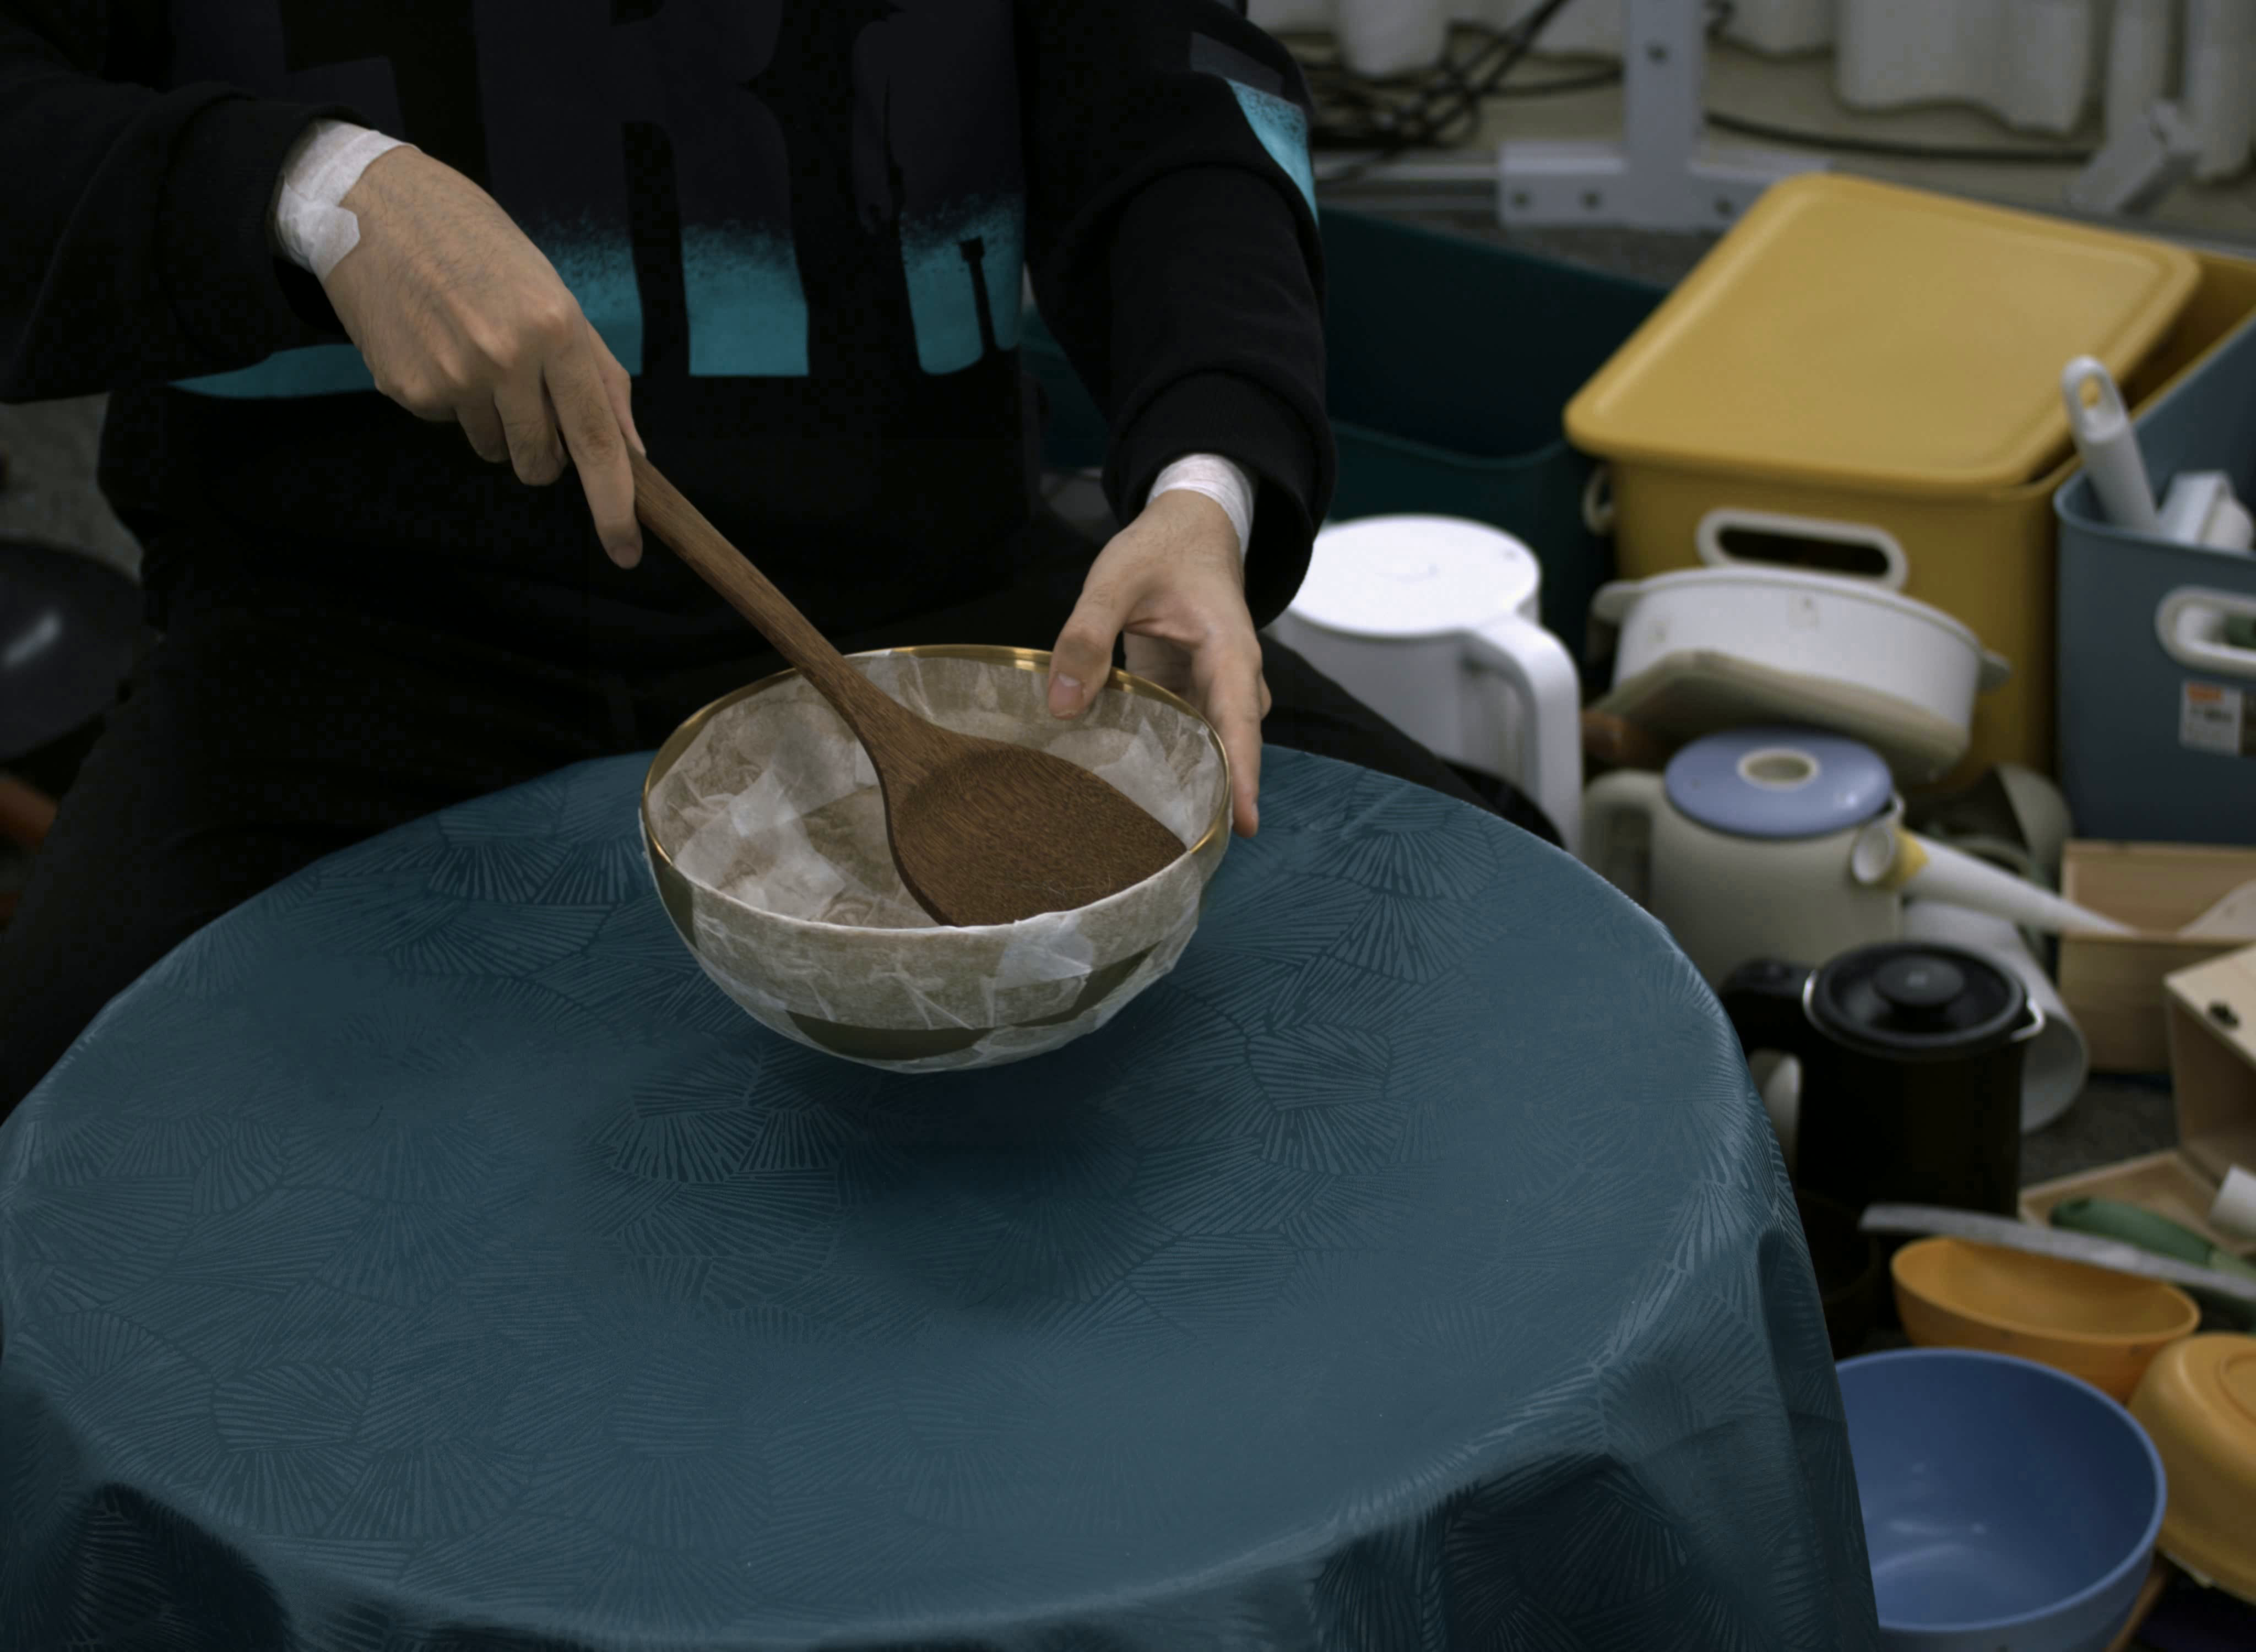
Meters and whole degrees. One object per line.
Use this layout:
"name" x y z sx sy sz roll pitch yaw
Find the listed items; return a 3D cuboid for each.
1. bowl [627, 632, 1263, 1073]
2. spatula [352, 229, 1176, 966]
"bowl" -0.061 0.022 1.901 0.213 0.093 0.218 -2 27 1
"spatula" -0.136 -0.085 1.948 0.387 0.015 0.097 43 50 16
